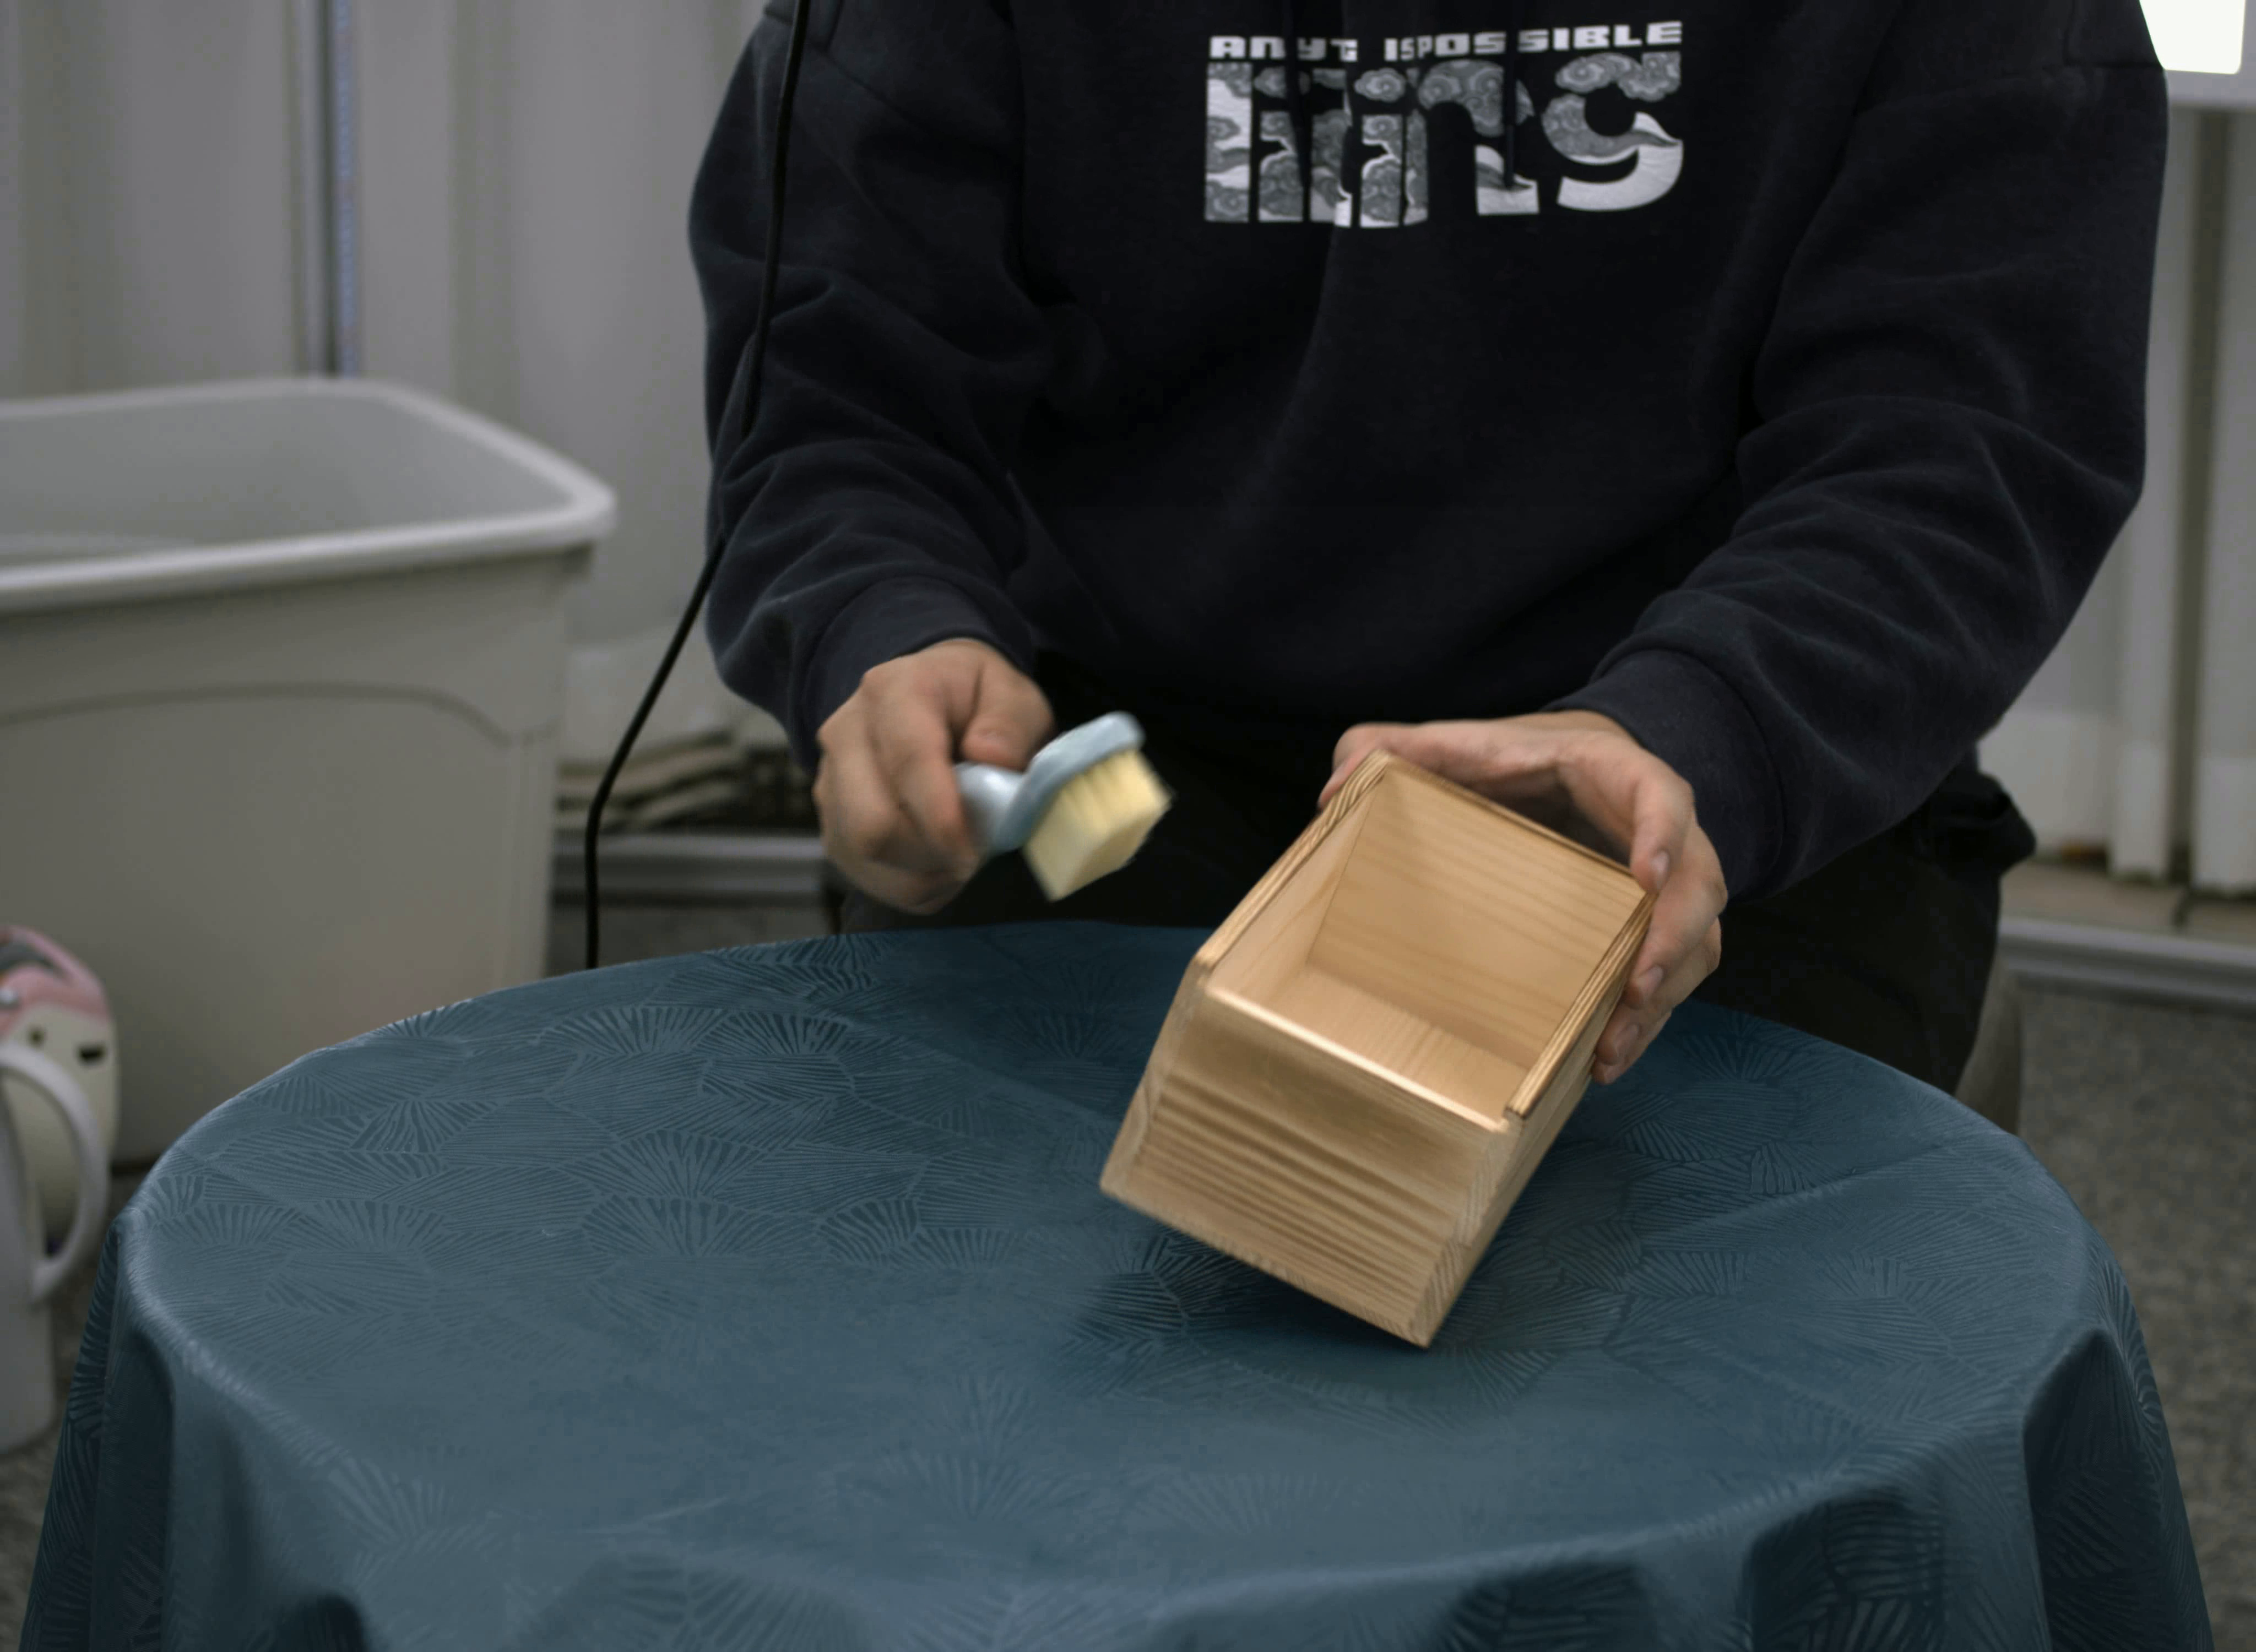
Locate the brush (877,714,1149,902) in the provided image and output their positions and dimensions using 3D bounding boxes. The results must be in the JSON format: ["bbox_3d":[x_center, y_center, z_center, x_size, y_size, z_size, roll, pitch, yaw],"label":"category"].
[{"bbox_3d":[-0.042,0.001,1.697,0.038,0.050,0.227,-30,5,-19],"label":"brush"}]

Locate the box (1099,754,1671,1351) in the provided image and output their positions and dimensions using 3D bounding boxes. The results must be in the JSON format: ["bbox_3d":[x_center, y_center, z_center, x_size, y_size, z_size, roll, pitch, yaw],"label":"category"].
[{"bbox_3d":[0.081,0.063,1.580,0.107,0.081,0.211,24,23,8],"label":"box"}]
